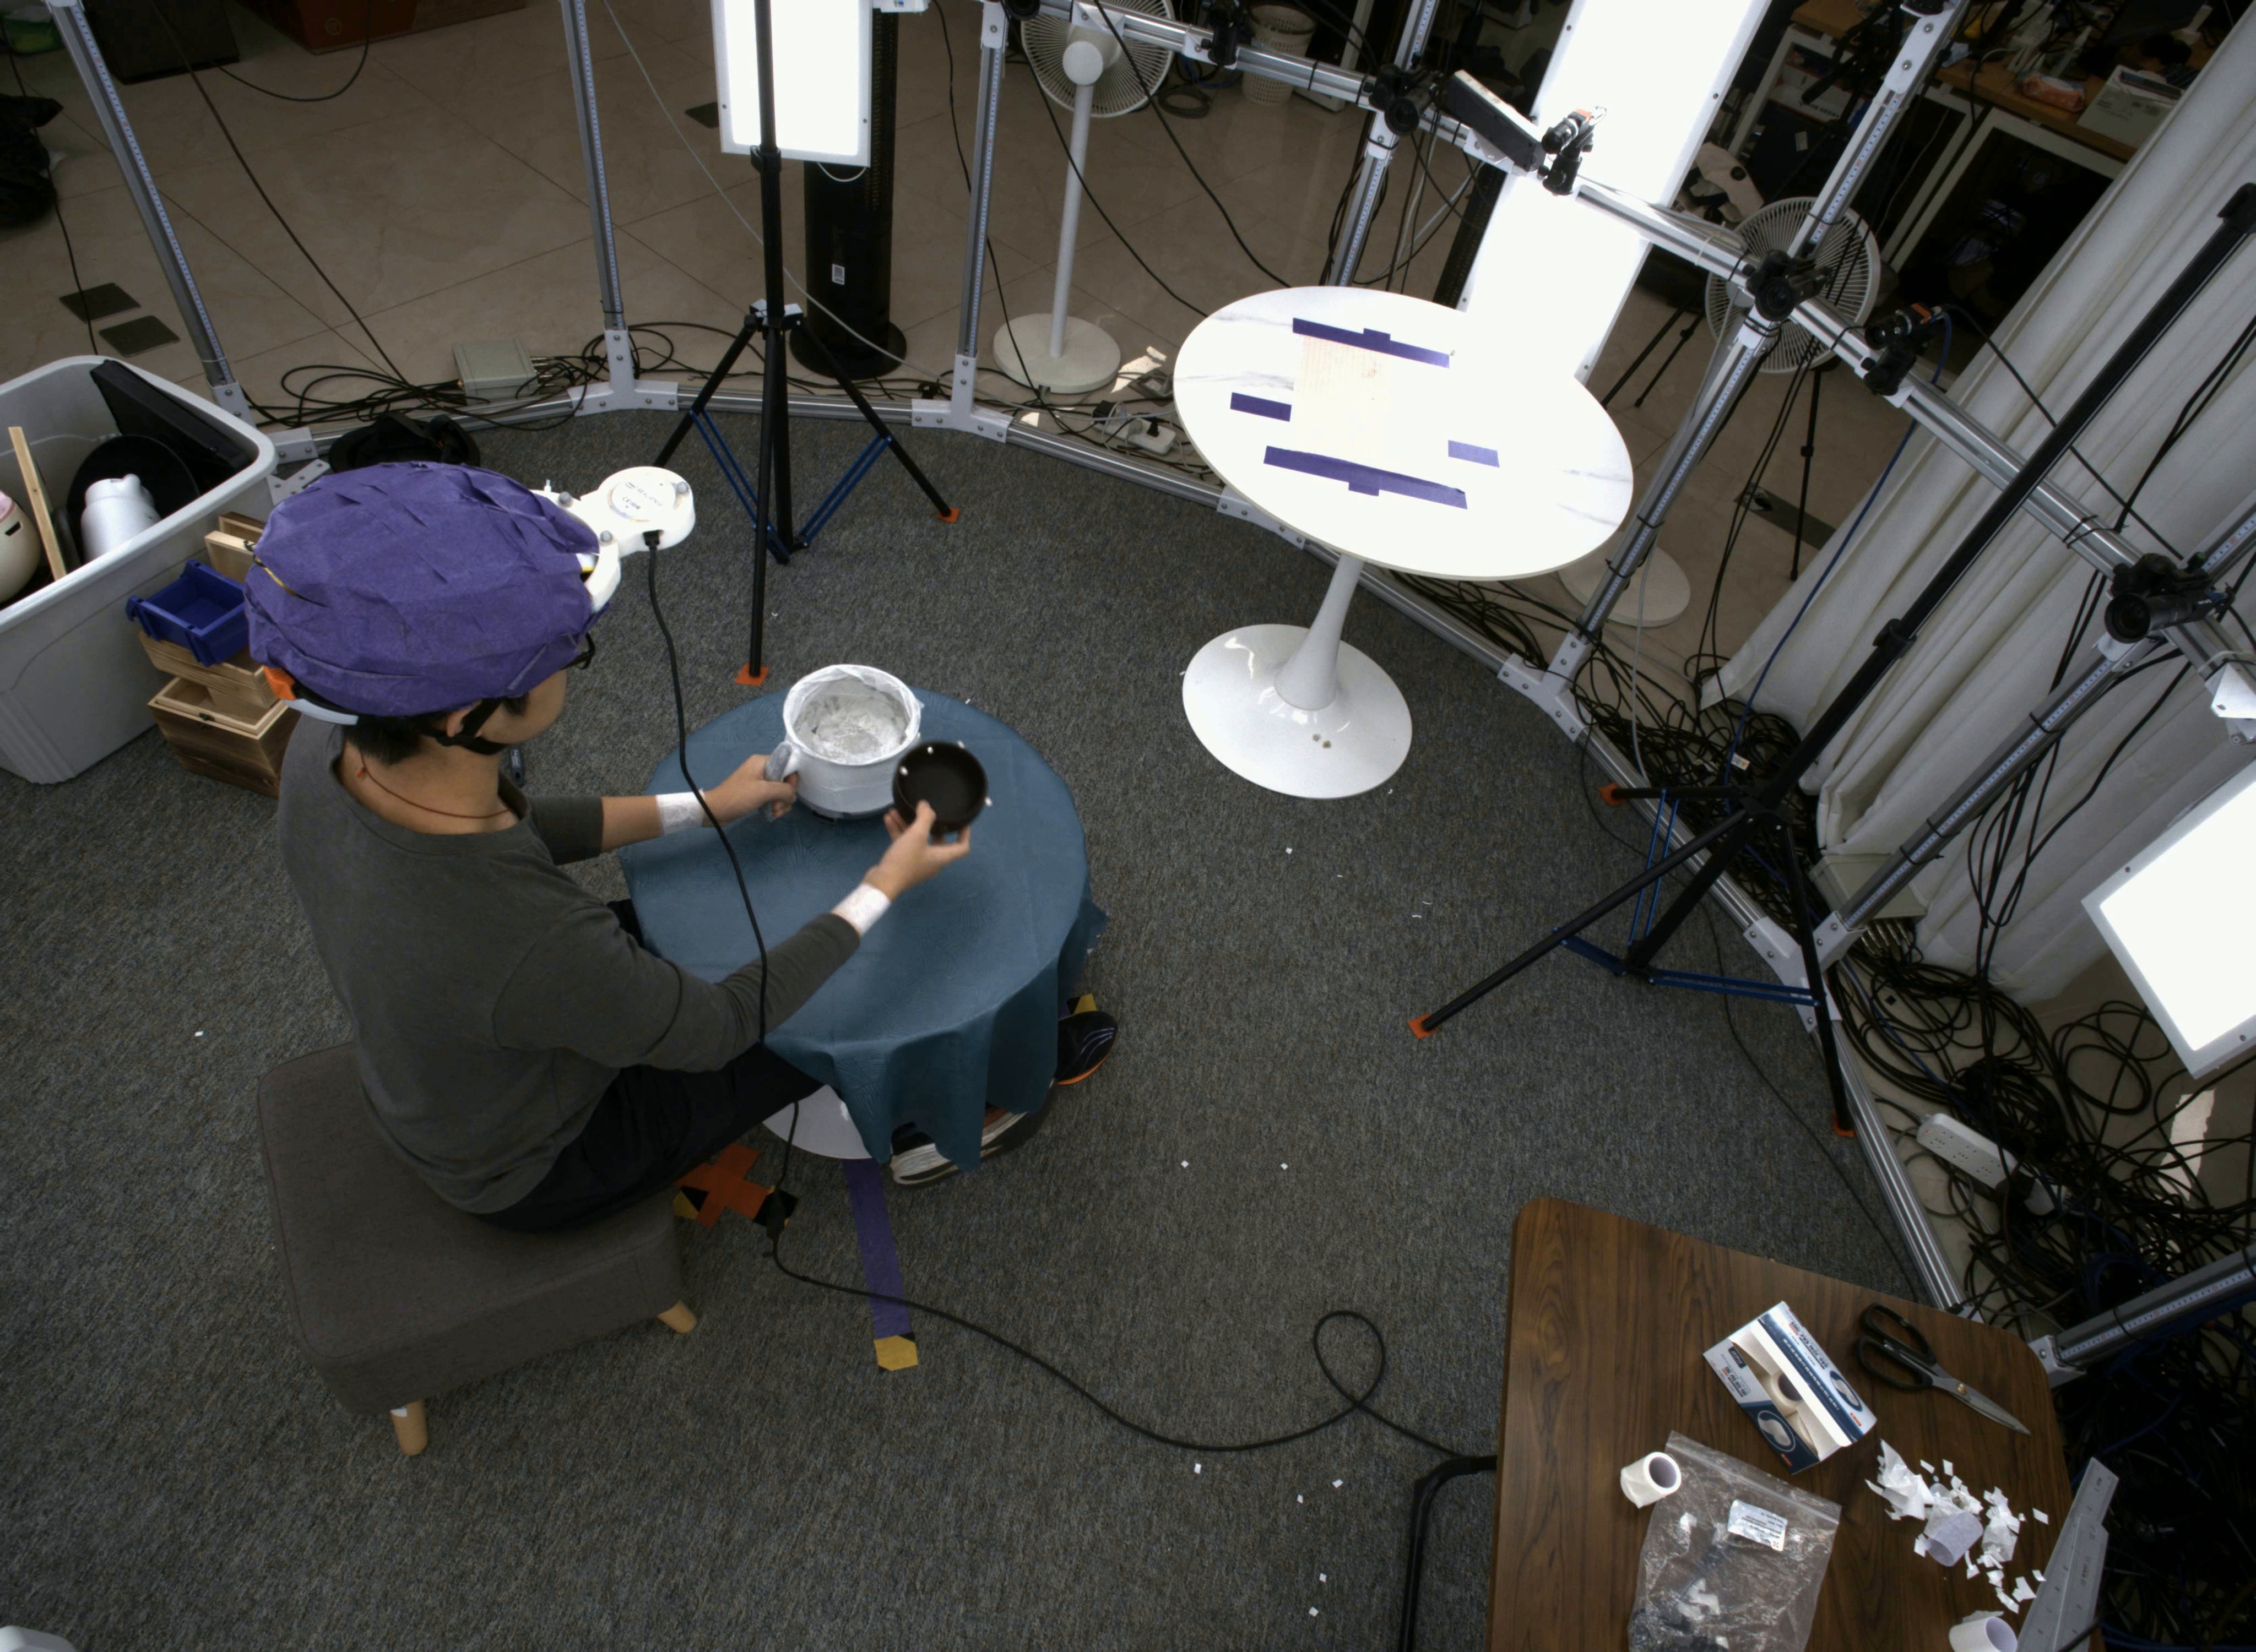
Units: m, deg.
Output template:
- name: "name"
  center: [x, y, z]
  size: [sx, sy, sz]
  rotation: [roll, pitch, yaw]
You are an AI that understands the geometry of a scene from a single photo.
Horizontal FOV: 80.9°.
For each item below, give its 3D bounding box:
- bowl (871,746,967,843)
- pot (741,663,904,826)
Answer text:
- name: "bowl"
  center: [-0.262, -0.034, 1.625]
  size: [0.118, 0.070, 0.117]
  rotation: [6, 68, -12]
- name: "pot"
  center: [-0.409, -0.094, 1.719]
  size: [0.174, 0.139, 0.234]
  rotation: [41, 55, 19]
